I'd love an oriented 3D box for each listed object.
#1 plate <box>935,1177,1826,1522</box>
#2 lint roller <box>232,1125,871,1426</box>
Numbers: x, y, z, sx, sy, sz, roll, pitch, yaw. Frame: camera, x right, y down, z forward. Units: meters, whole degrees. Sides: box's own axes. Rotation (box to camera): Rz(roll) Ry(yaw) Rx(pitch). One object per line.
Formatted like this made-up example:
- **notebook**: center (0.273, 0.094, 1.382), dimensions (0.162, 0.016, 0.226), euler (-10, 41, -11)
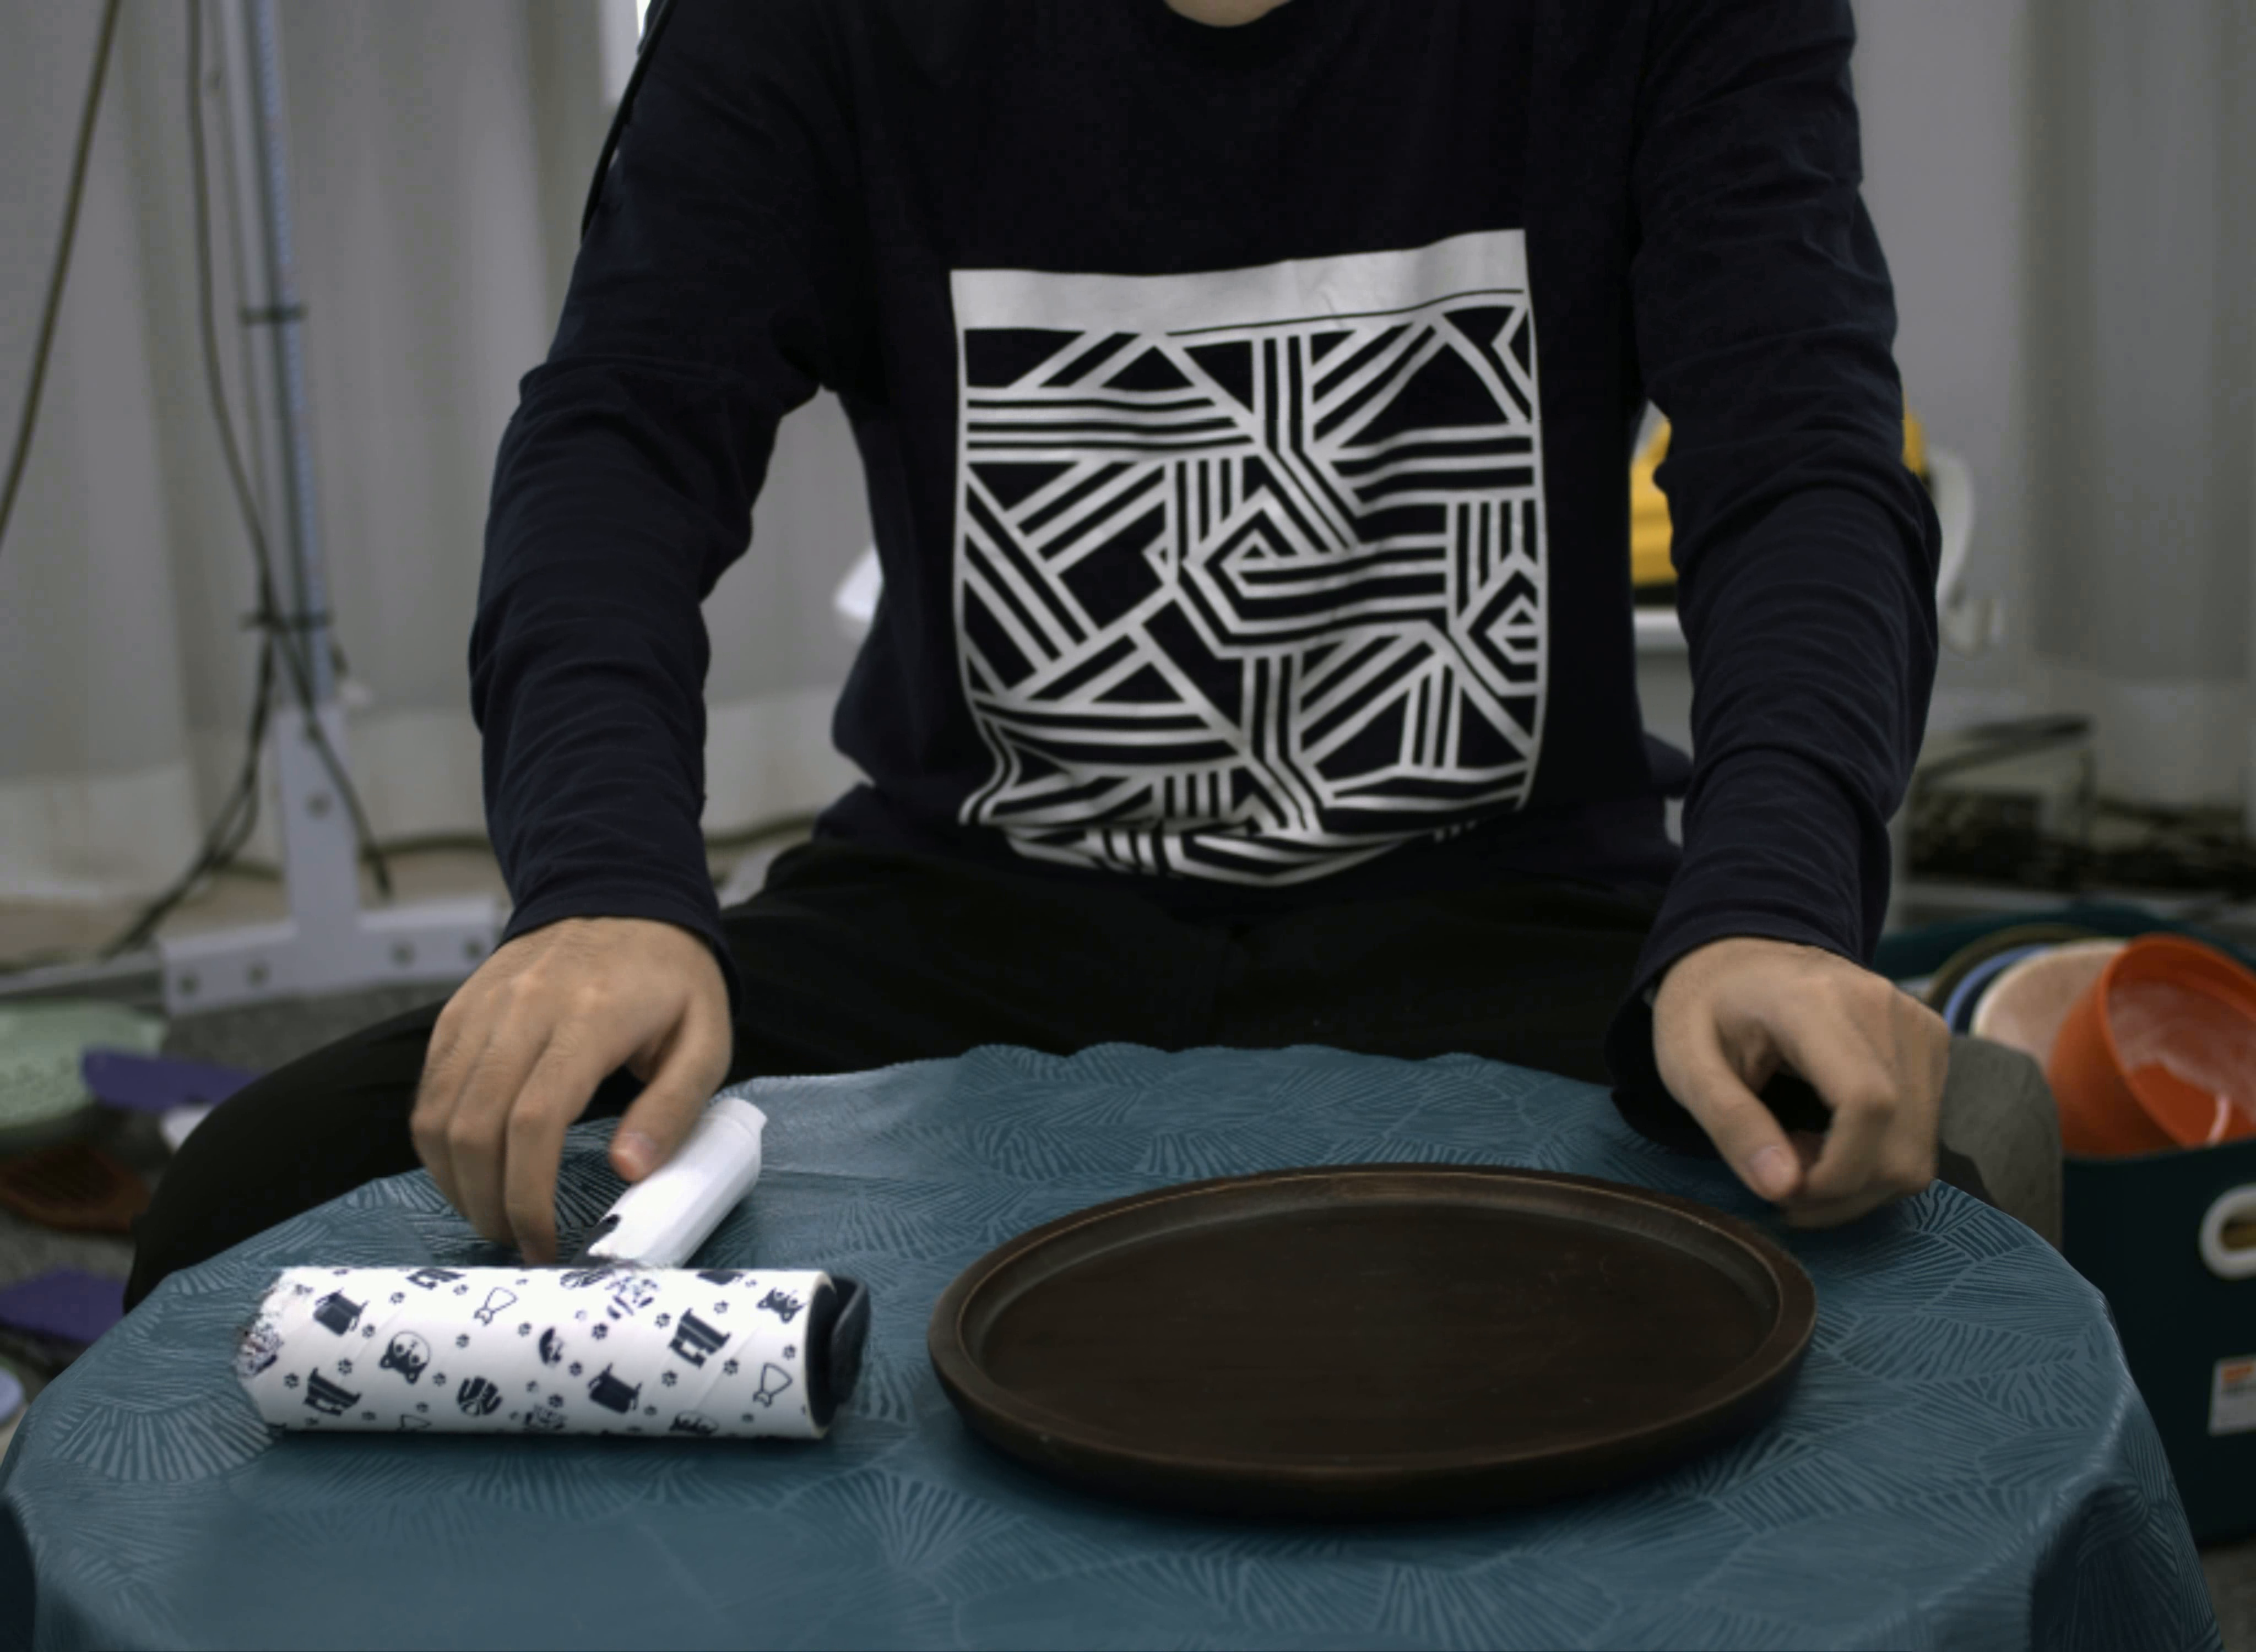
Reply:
- **plate**: center (0.071, 0.145, 1.547), dimensions (0.254, 0.029, 0.256), euler (-2, 13, 0)
- **lint roller**: center (-0.147, 0.124, 1.632), dimensions (0.176, 0.050, 0.248), euler (-1, 13, 10)
